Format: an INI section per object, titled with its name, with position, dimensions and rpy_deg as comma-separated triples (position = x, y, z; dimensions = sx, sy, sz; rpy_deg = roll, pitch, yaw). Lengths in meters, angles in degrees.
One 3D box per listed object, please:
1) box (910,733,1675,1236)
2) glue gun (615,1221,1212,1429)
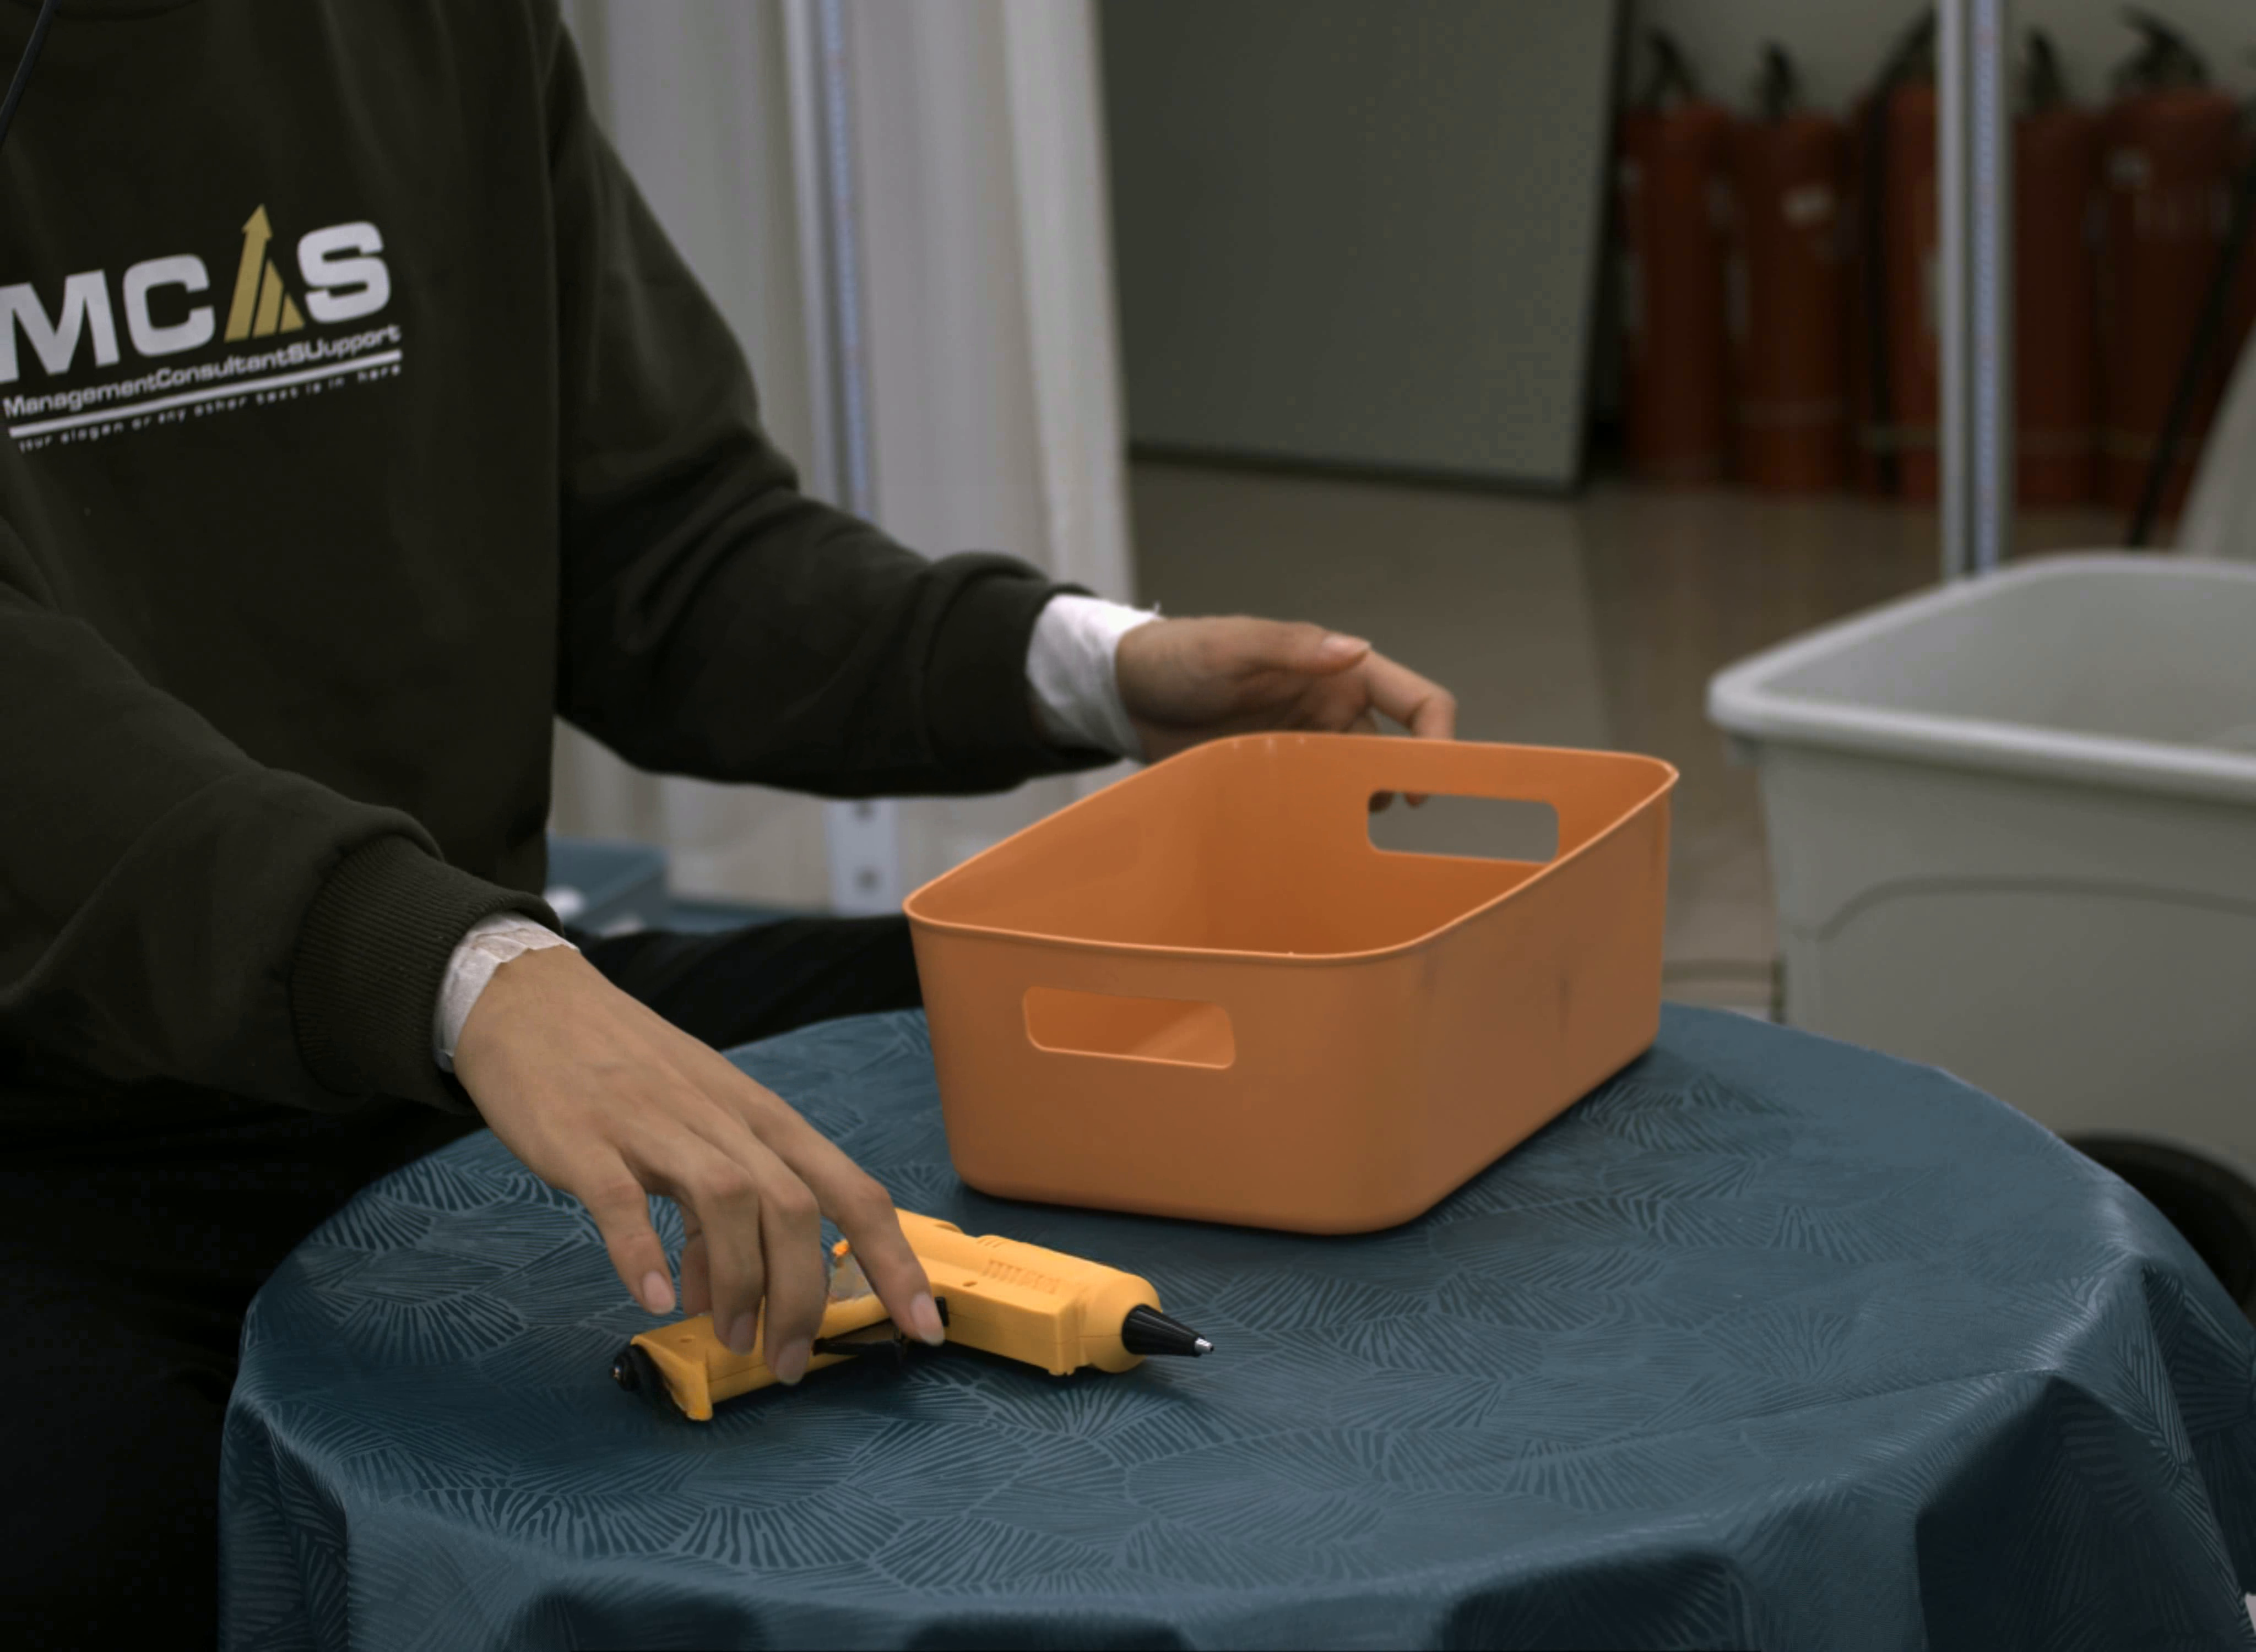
[box]
position = 0.061, 0.051, 1.832
dimensions = 0.200, 0.103, 0.269
rpy_deg = 3, 16, 28
[glue gun]
position = -0.056, 0.156, 1.603
dimensions = 0.152, 0.031, 0.130
rpy_deg = 6, 18, 42
